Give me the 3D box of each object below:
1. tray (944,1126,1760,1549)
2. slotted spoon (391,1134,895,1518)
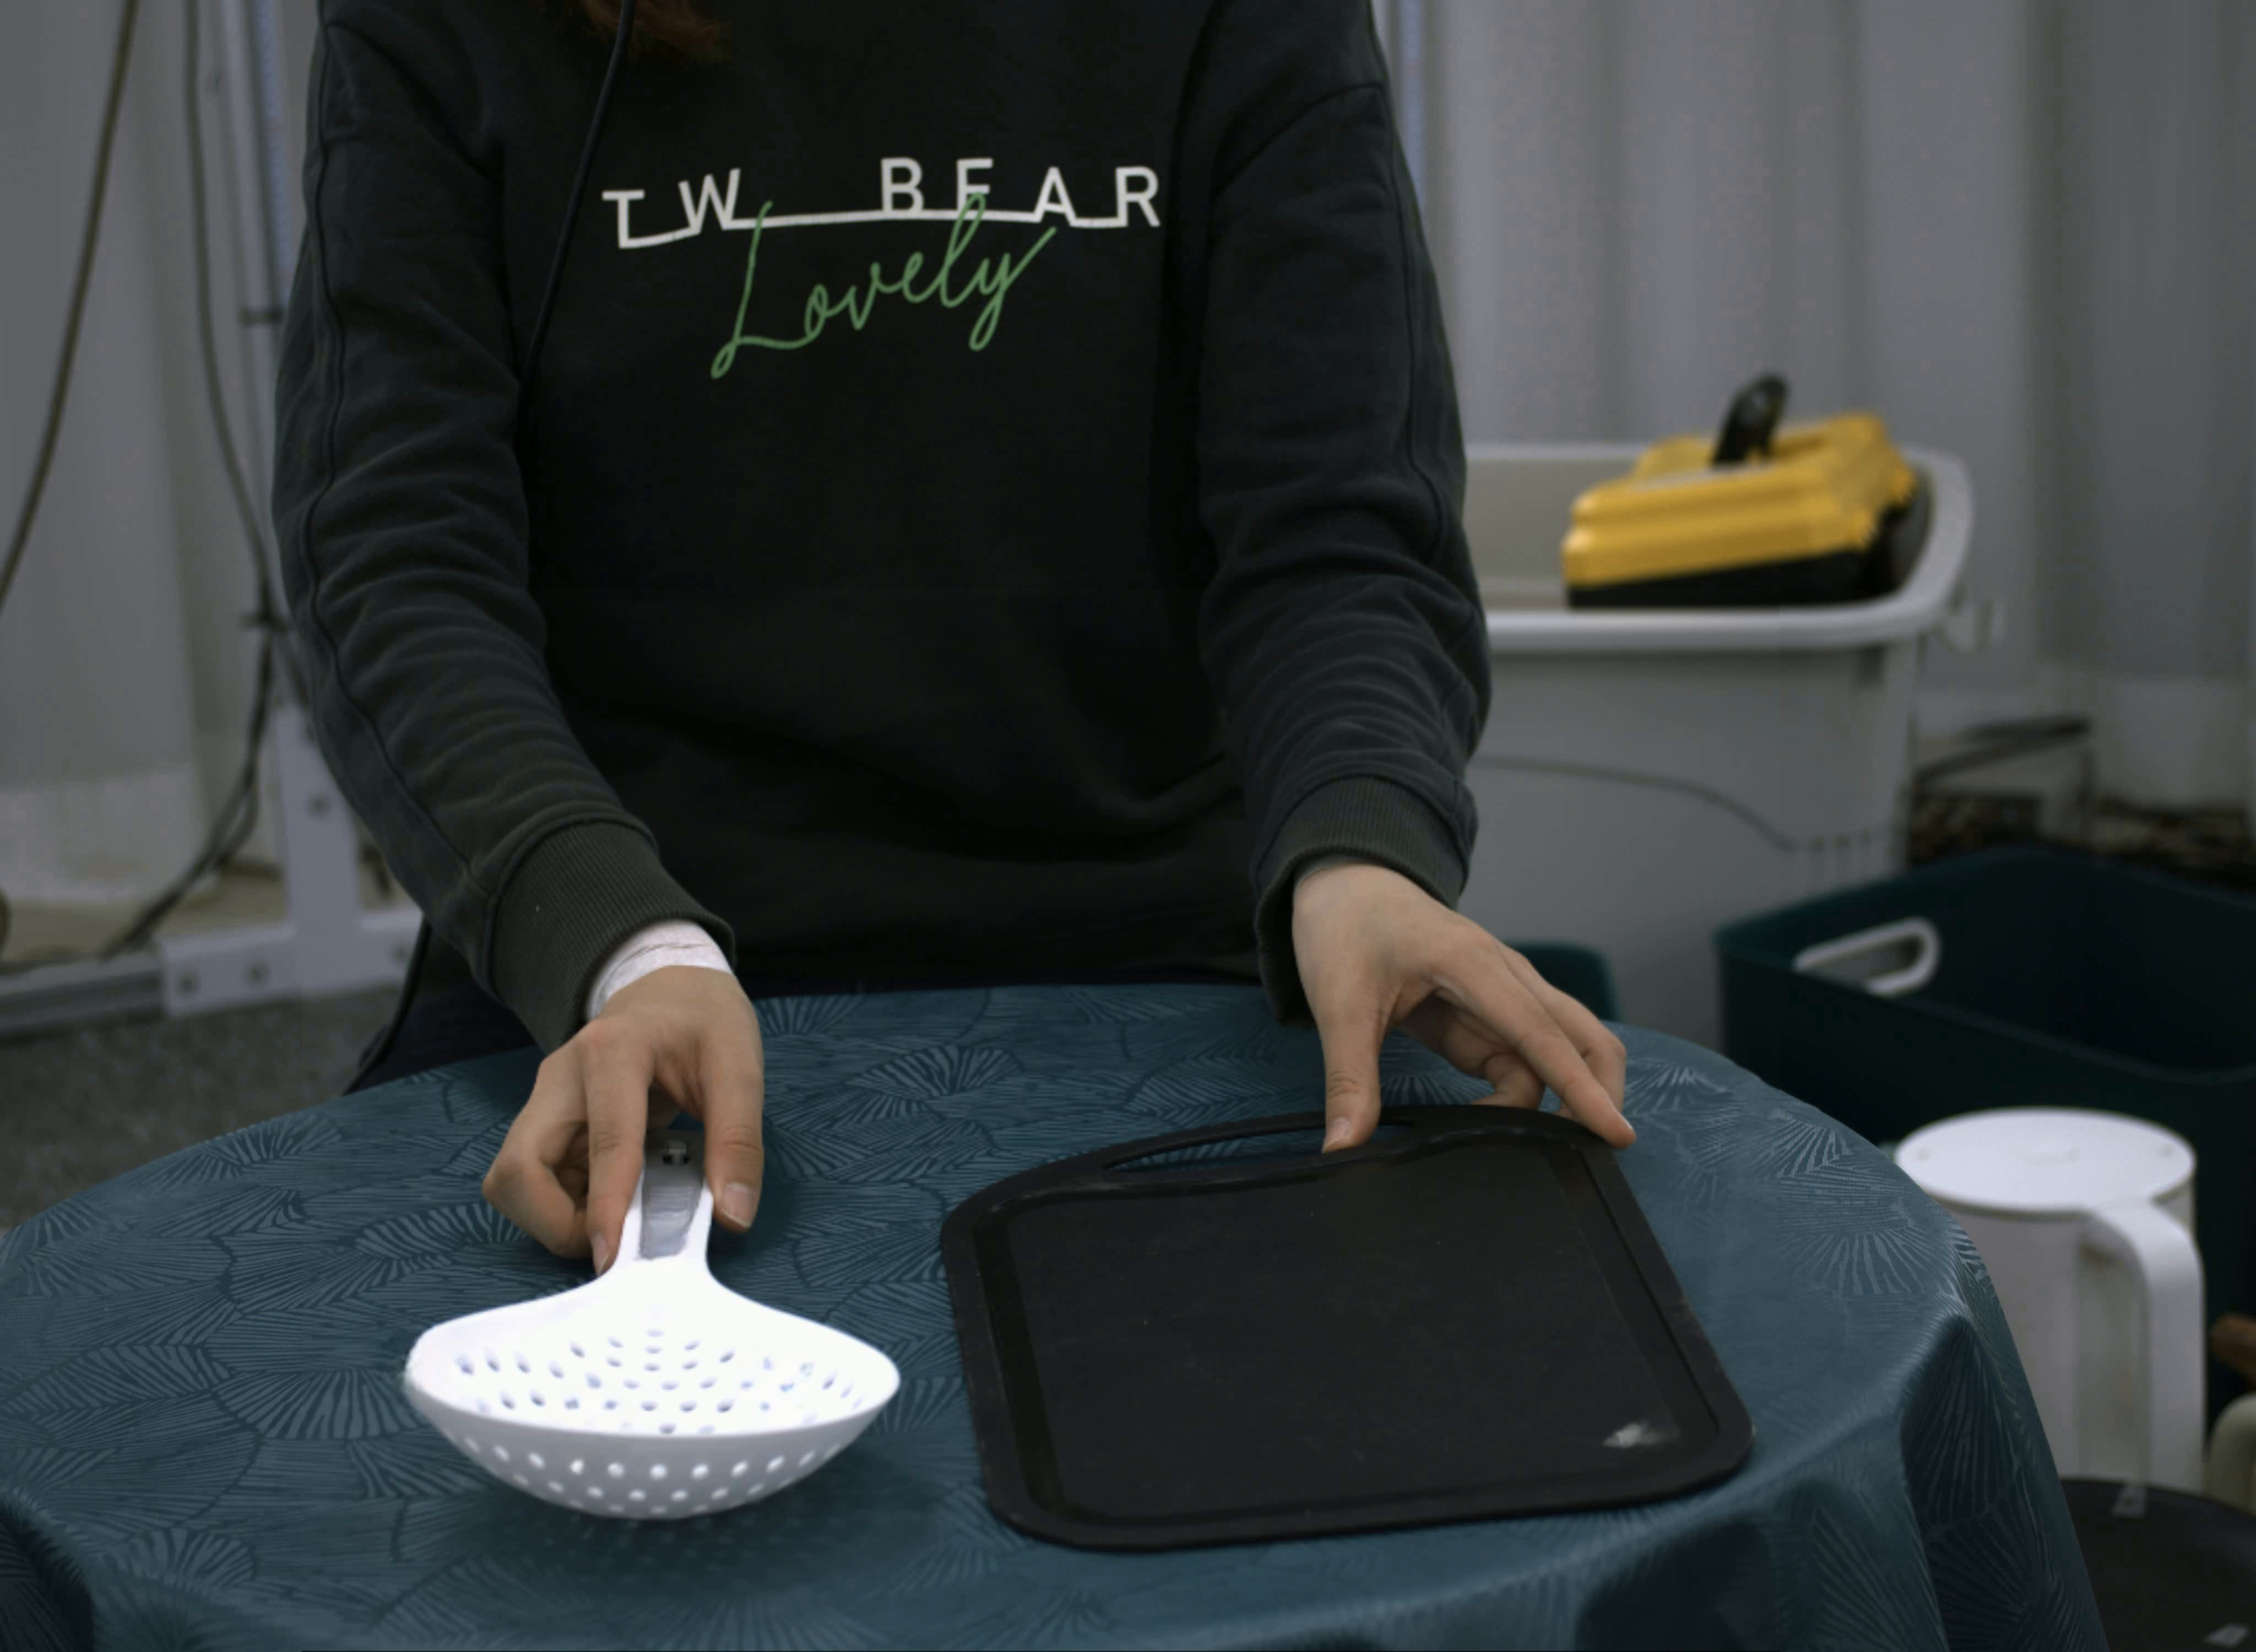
[{"bbox_3d":[0.056,0.140,1.586,0.210,0.010,0.328,-5,15,-4],"label":"tray"},{"bbox_3d":[-0.135,0.134,1.577,0.135,0.045,0.352,4,14,-3],"label":"slotted spoon"}]
